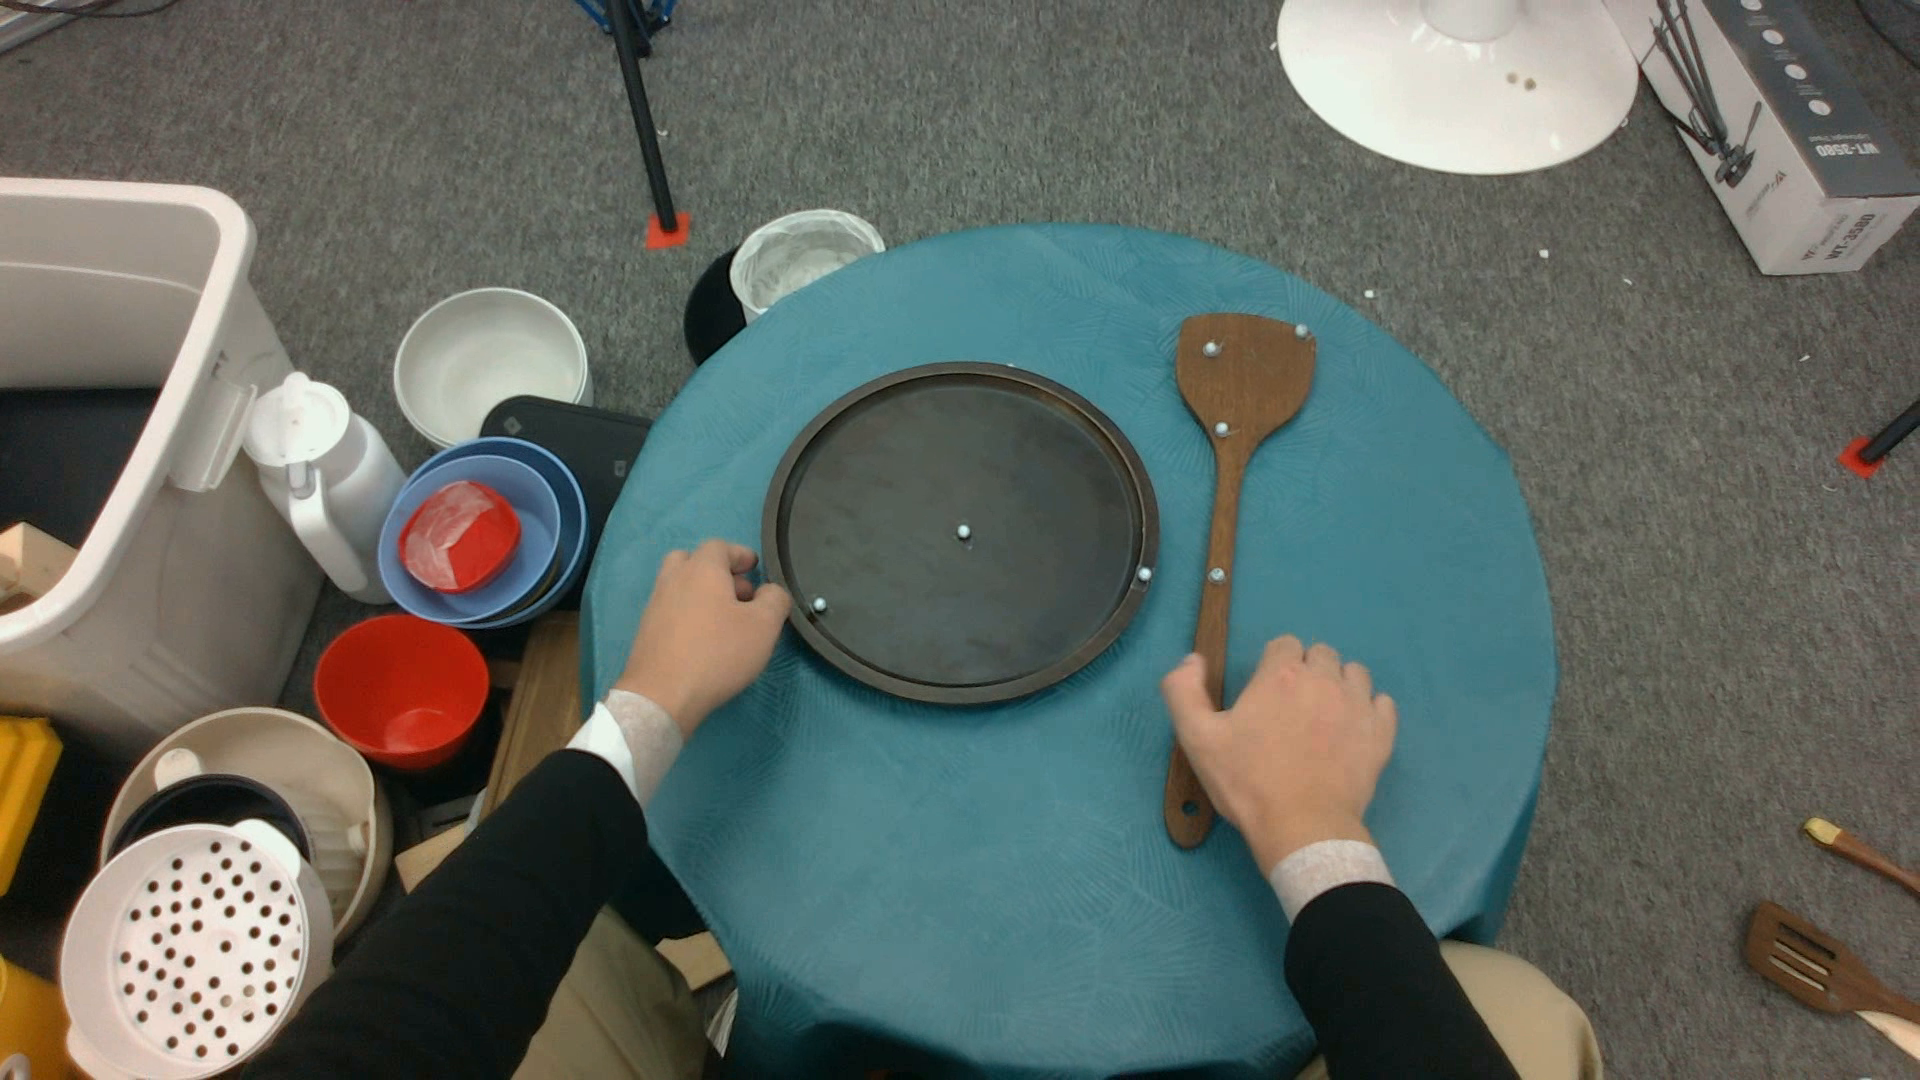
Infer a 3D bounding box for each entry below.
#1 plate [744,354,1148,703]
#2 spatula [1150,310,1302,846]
[{"bbox_3d":[-0.009,-0.013,0.872,0.255,0.029,0.256,1,60,-1],"label":"plate"},{"bbox_3d":[0.156,0.006,0.868,0.096,0.016,0.387,9,60,6],"label":"spatula"}]
